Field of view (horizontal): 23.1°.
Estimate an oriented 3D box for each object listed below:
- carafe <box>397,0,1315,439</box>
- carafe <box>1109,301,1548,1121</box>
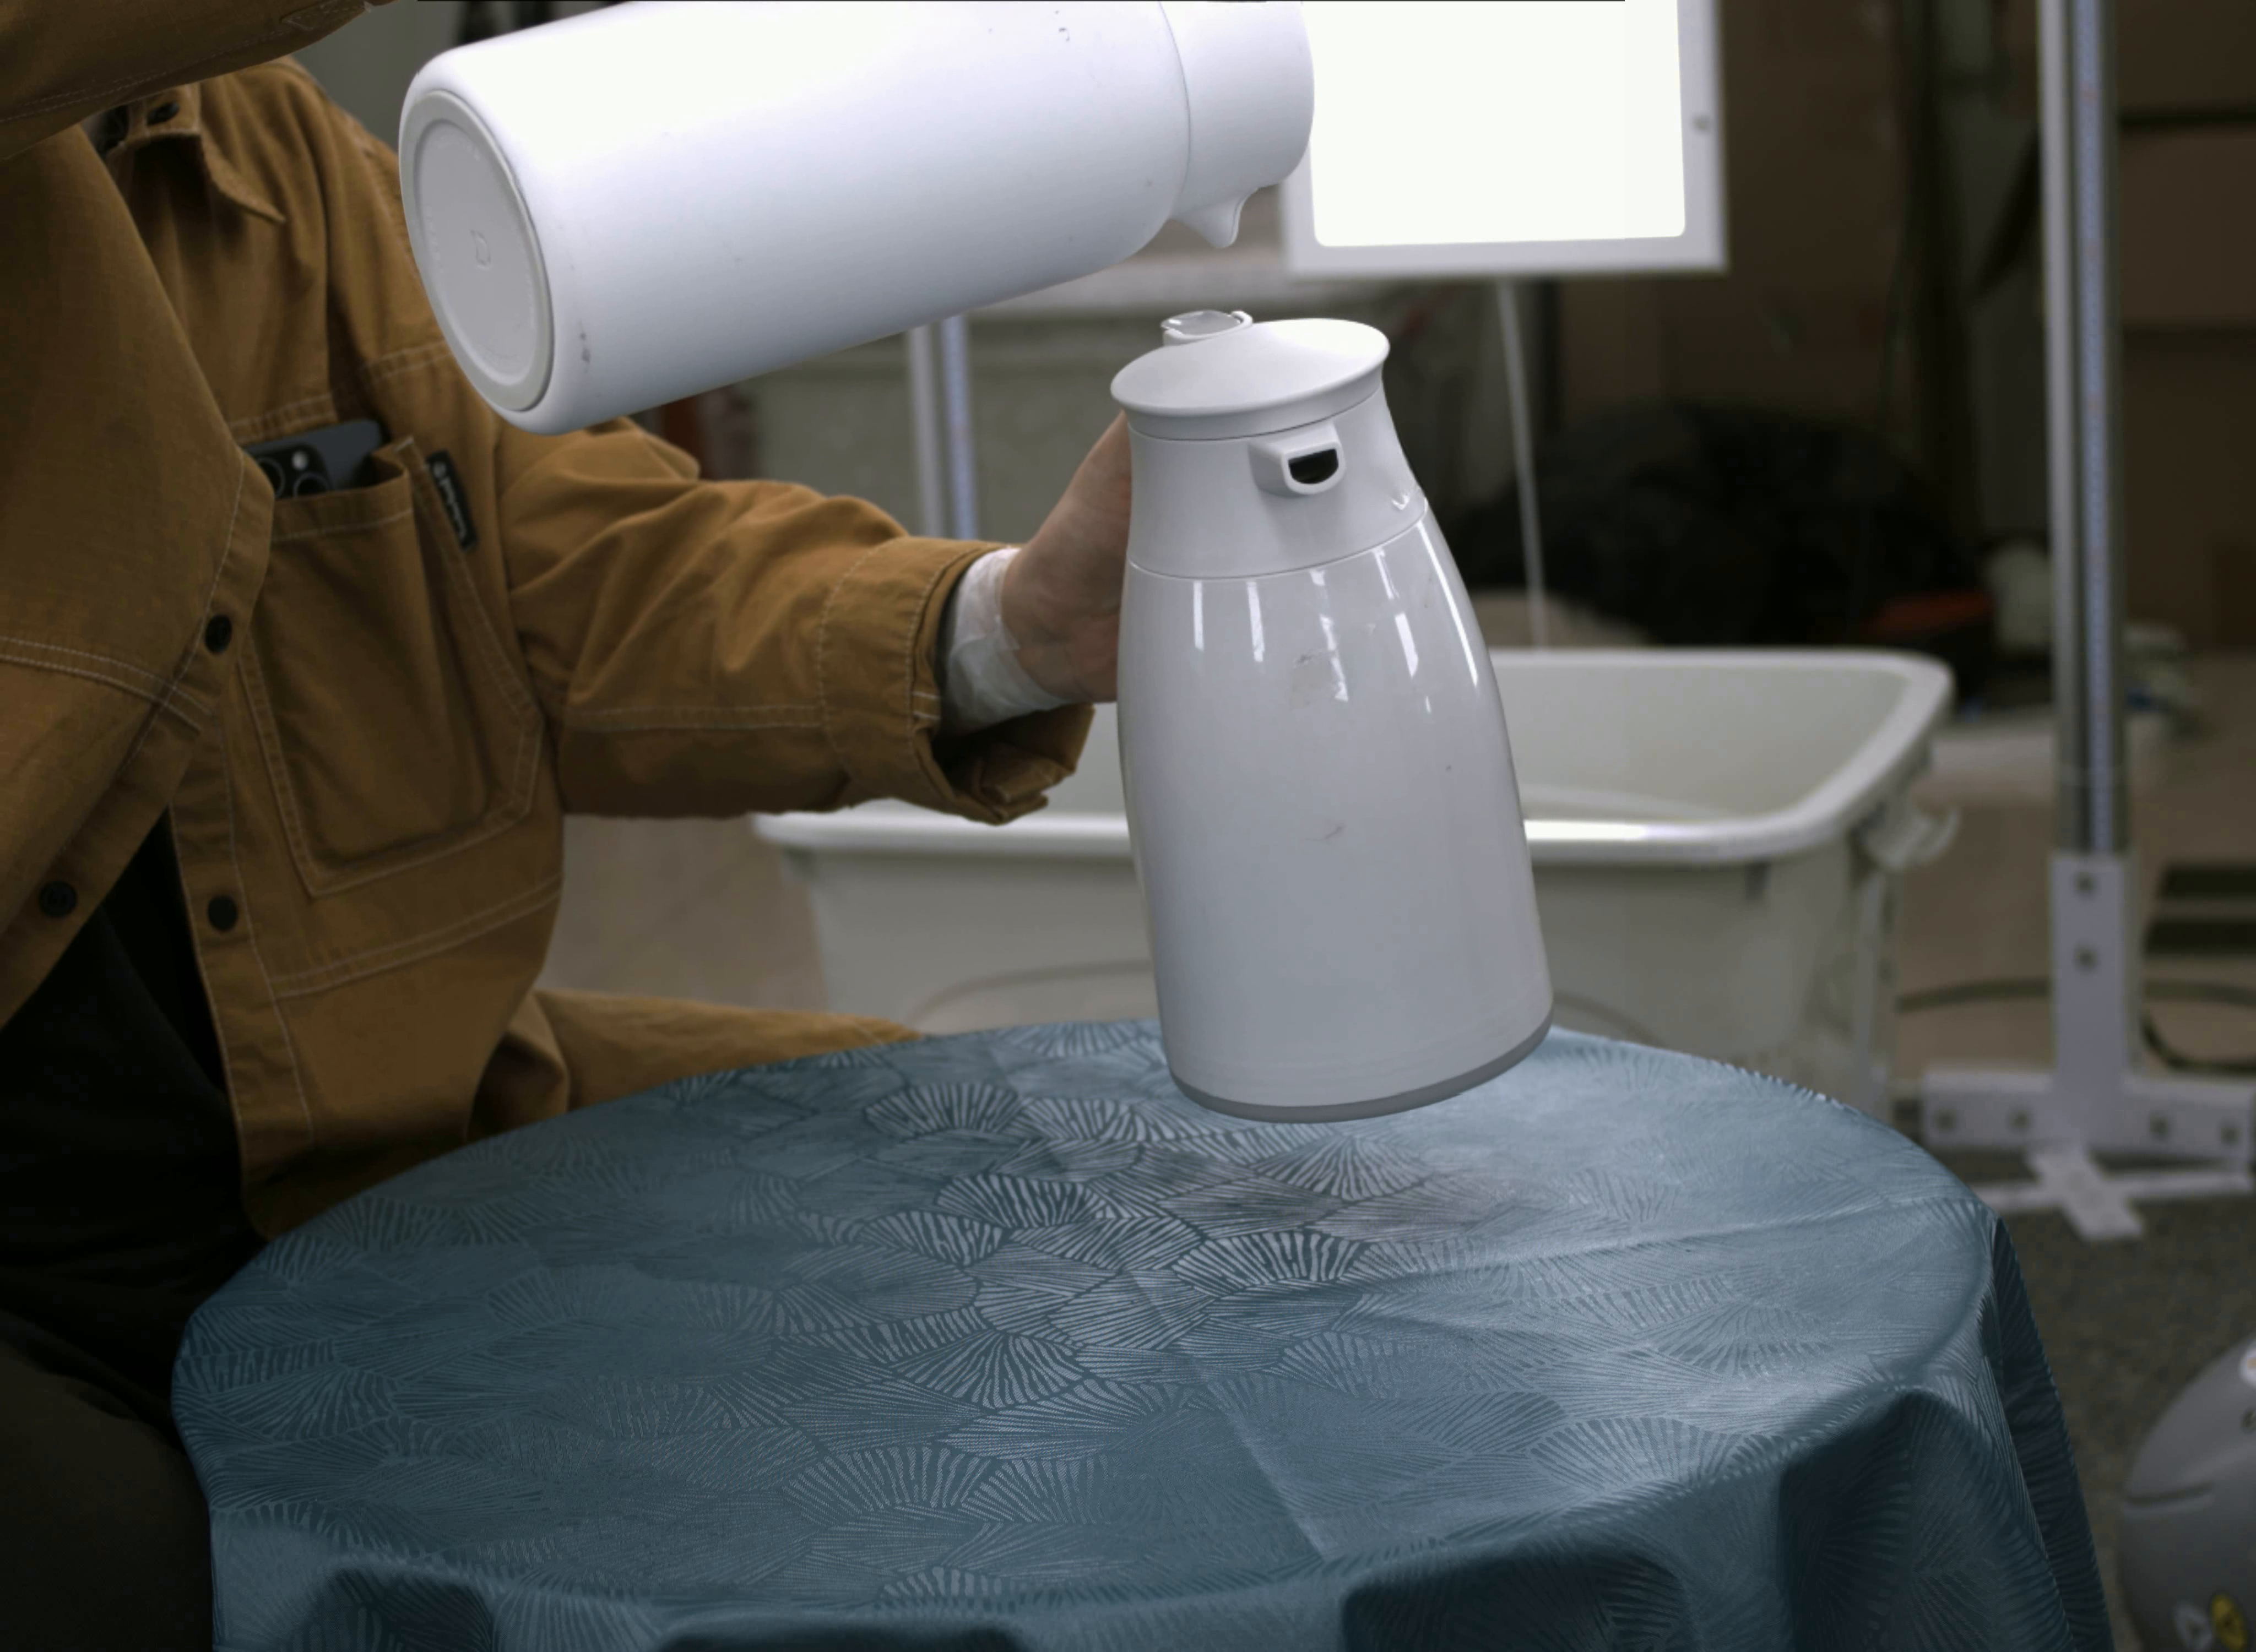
[{"bbox_3d":[-0.080,-0.223,1.658,0.264,0.173,0.125,-19,32,-22],"label":"carafe"},{"bbox_3d":[0.051,-0.048,1.822,0.131,0.249,0.169,-15,20,-11],"label":"carafe"}]
